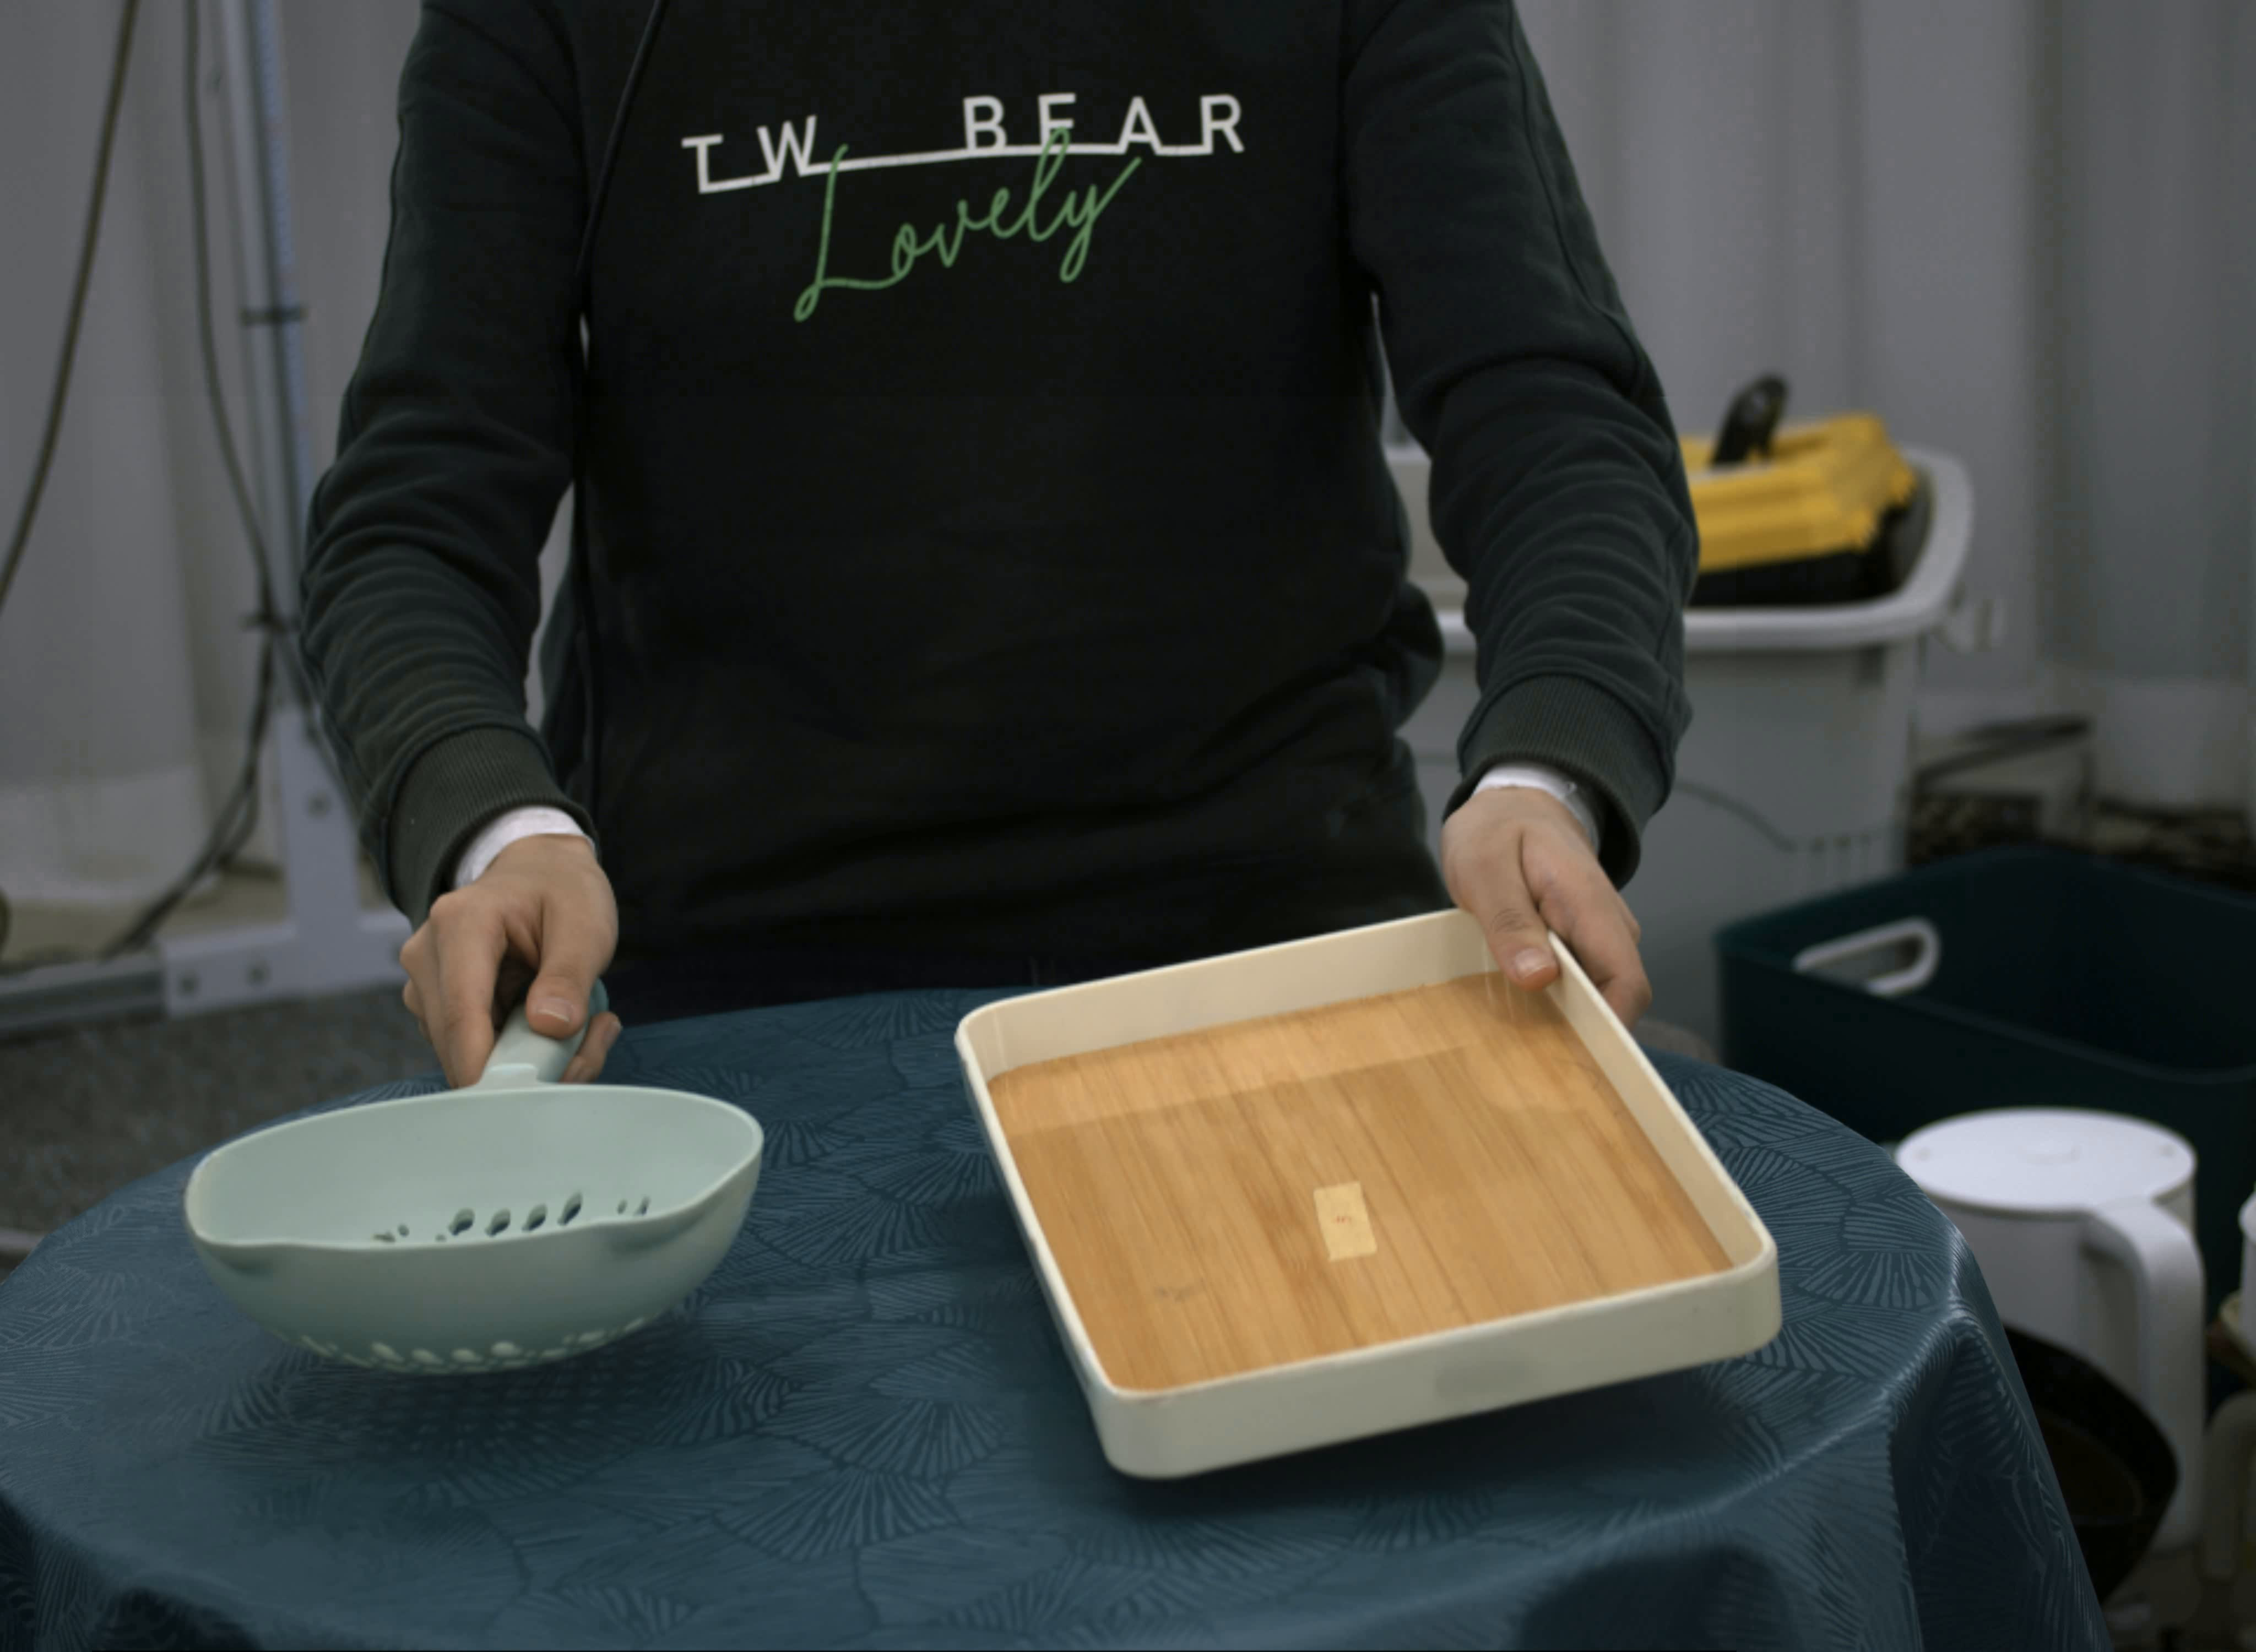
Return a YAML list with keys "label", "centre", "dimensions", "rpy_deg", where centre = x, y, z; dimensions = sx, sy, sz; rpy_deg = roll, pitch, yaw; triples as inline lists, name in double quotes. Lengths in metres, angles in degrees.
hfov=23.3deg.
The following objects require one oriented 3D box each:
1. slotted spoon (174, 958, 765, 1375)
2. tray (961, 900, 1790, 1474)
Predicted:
- label: "slotted spoon"
  centre: [-0.187, 0.087, 1.663]
  dimensions: [0.169, 0.075, 0.362]
  rpy_deg: [-3, 20, 1]
- label: "tray"
  centre: [0.064, 0.099, 1.588]
  dimensions: [0.191, 0.027, 0.303]
  rpy_deg: [-11, 20, -6]
